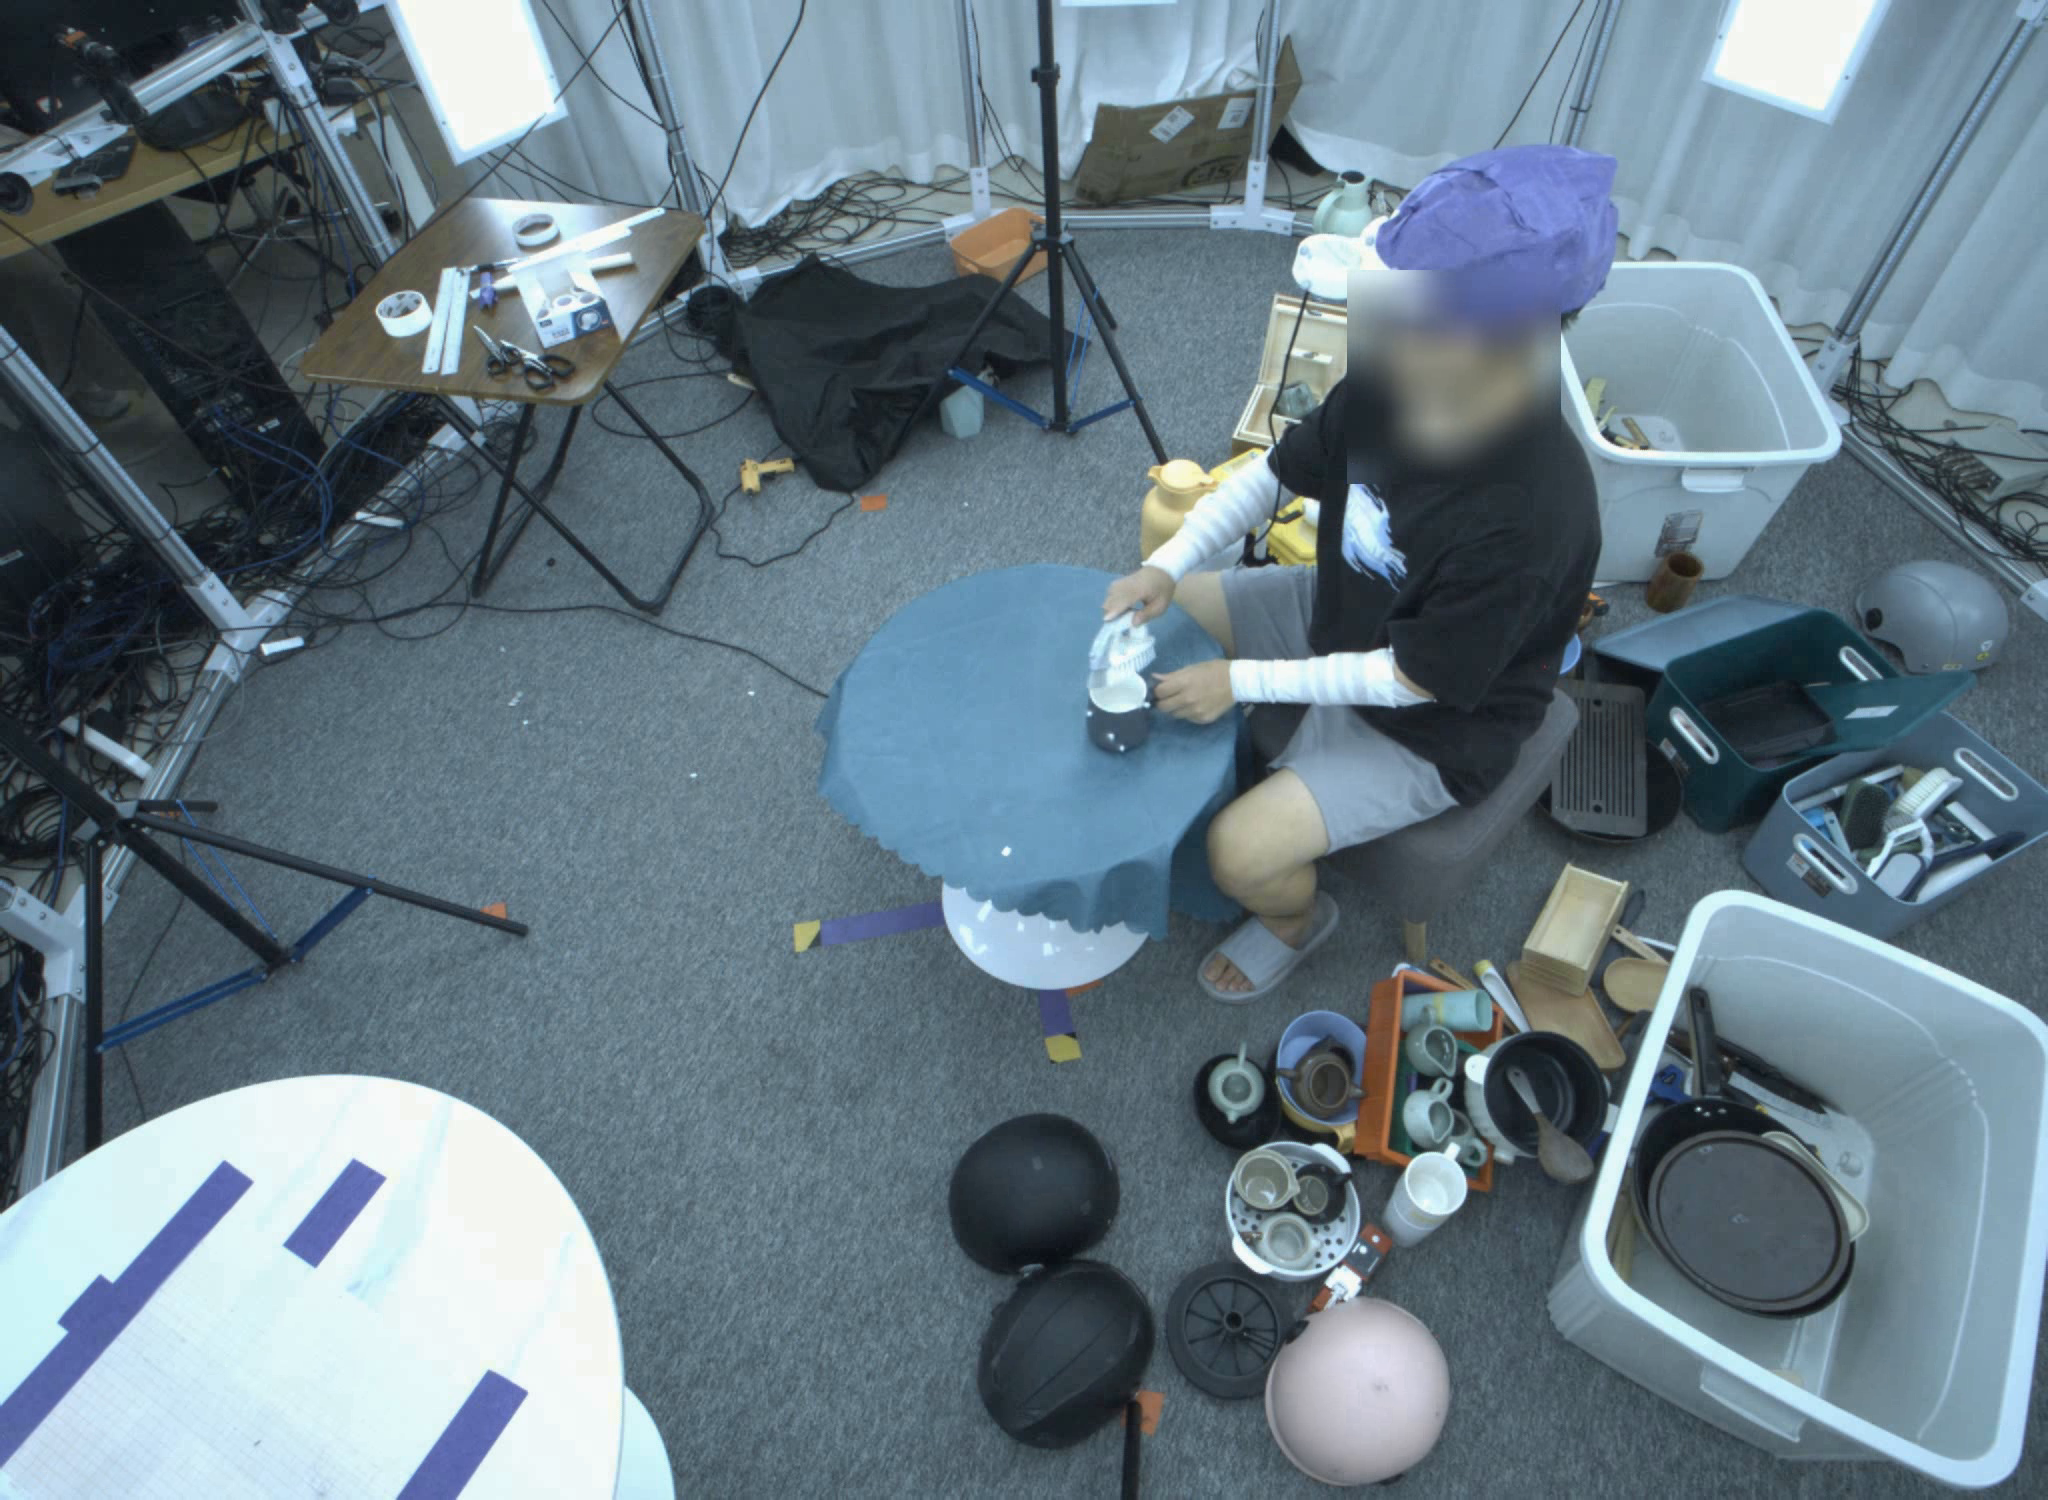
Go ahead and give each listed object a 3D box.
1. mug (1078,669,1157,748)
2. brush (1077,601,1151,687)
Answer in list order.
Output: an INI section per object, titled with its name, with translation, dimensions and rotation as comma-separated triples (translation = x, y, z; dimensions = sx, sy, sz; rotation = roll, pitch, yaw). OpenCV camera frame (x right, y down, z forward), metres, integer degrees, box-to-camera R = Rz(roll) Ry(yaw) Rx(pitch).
[mug]
translation = 0.136, -0.066, 1.765
dimensions = 0.124, 0.091, 0.092
rotation = -25, 56, -15
[brush]
translation = 0.118, -0.154, 1.741
dimensions = 0.060, 0.095, 0.177
rotation = 6, 25, 31
